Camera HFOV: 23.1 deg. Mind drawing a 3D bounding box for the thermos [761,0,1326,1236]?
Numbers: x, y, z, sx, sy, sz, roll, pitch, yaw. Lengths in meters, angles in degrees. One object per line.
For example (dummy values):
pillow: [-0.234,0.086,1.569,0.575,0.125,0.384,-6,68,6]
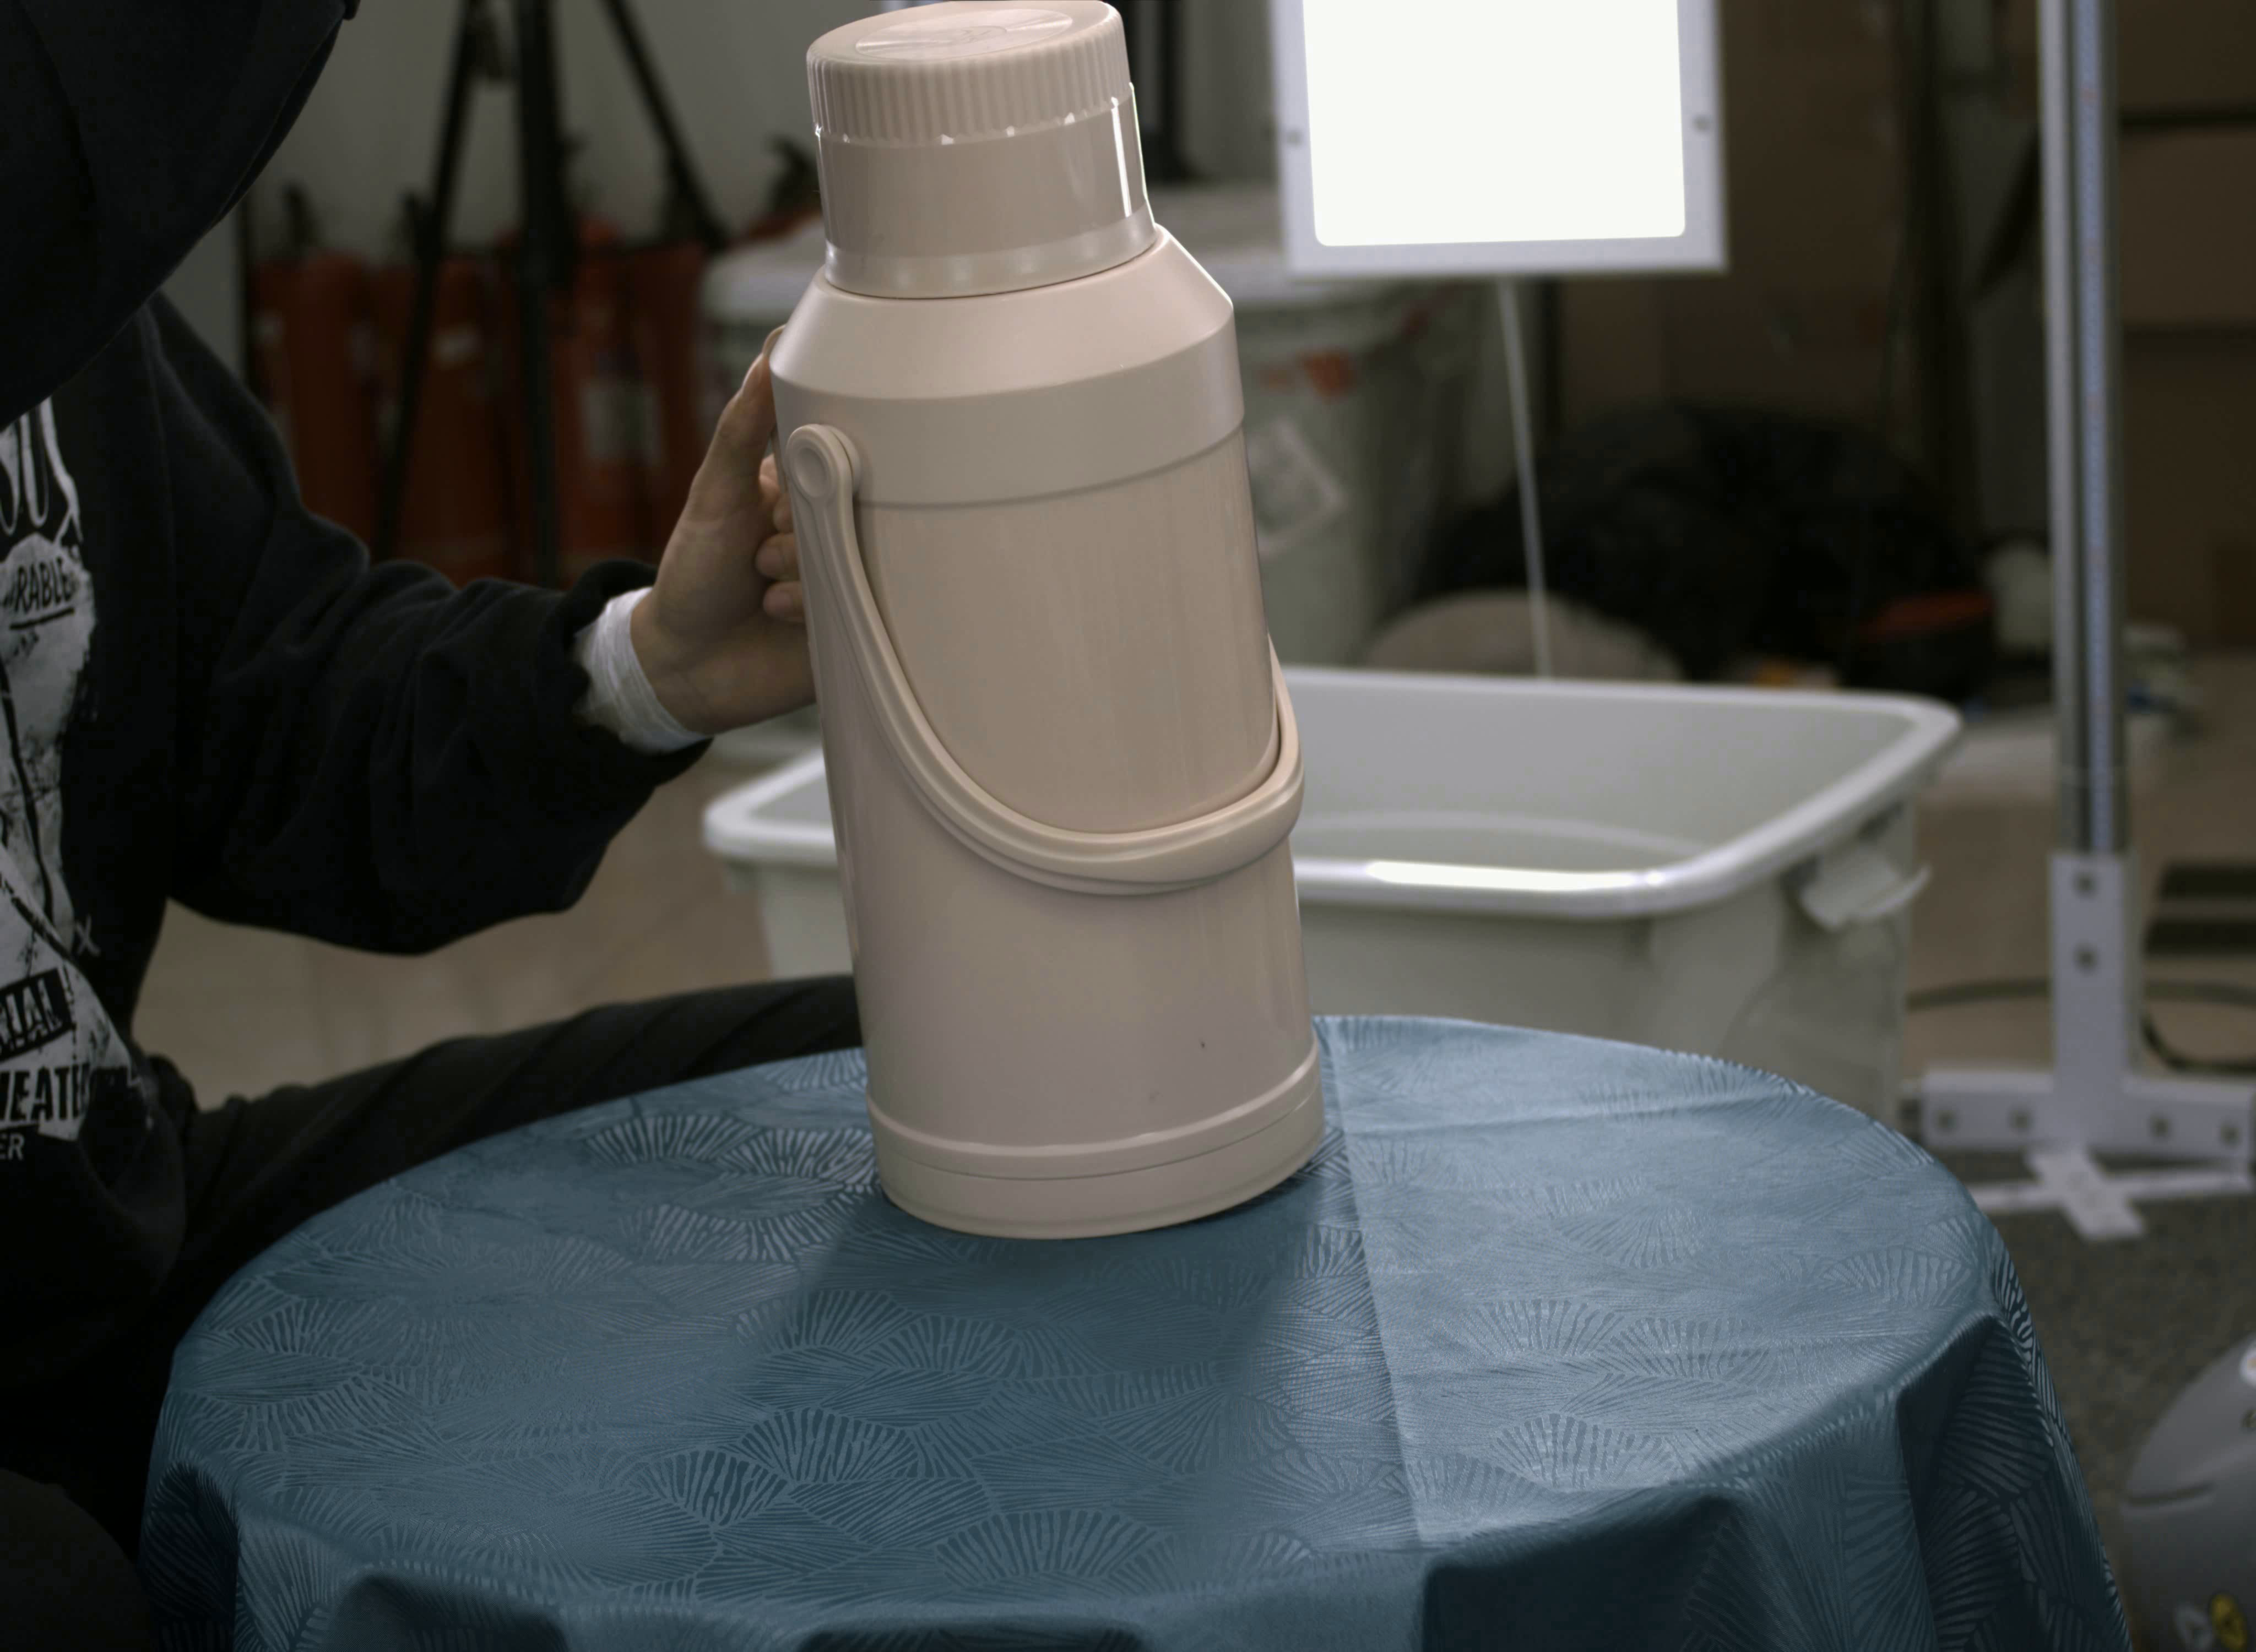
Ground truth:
thermos: [-0.040,-0.076,1.875,0.171,0.407,0.211,-24,26,-37]
